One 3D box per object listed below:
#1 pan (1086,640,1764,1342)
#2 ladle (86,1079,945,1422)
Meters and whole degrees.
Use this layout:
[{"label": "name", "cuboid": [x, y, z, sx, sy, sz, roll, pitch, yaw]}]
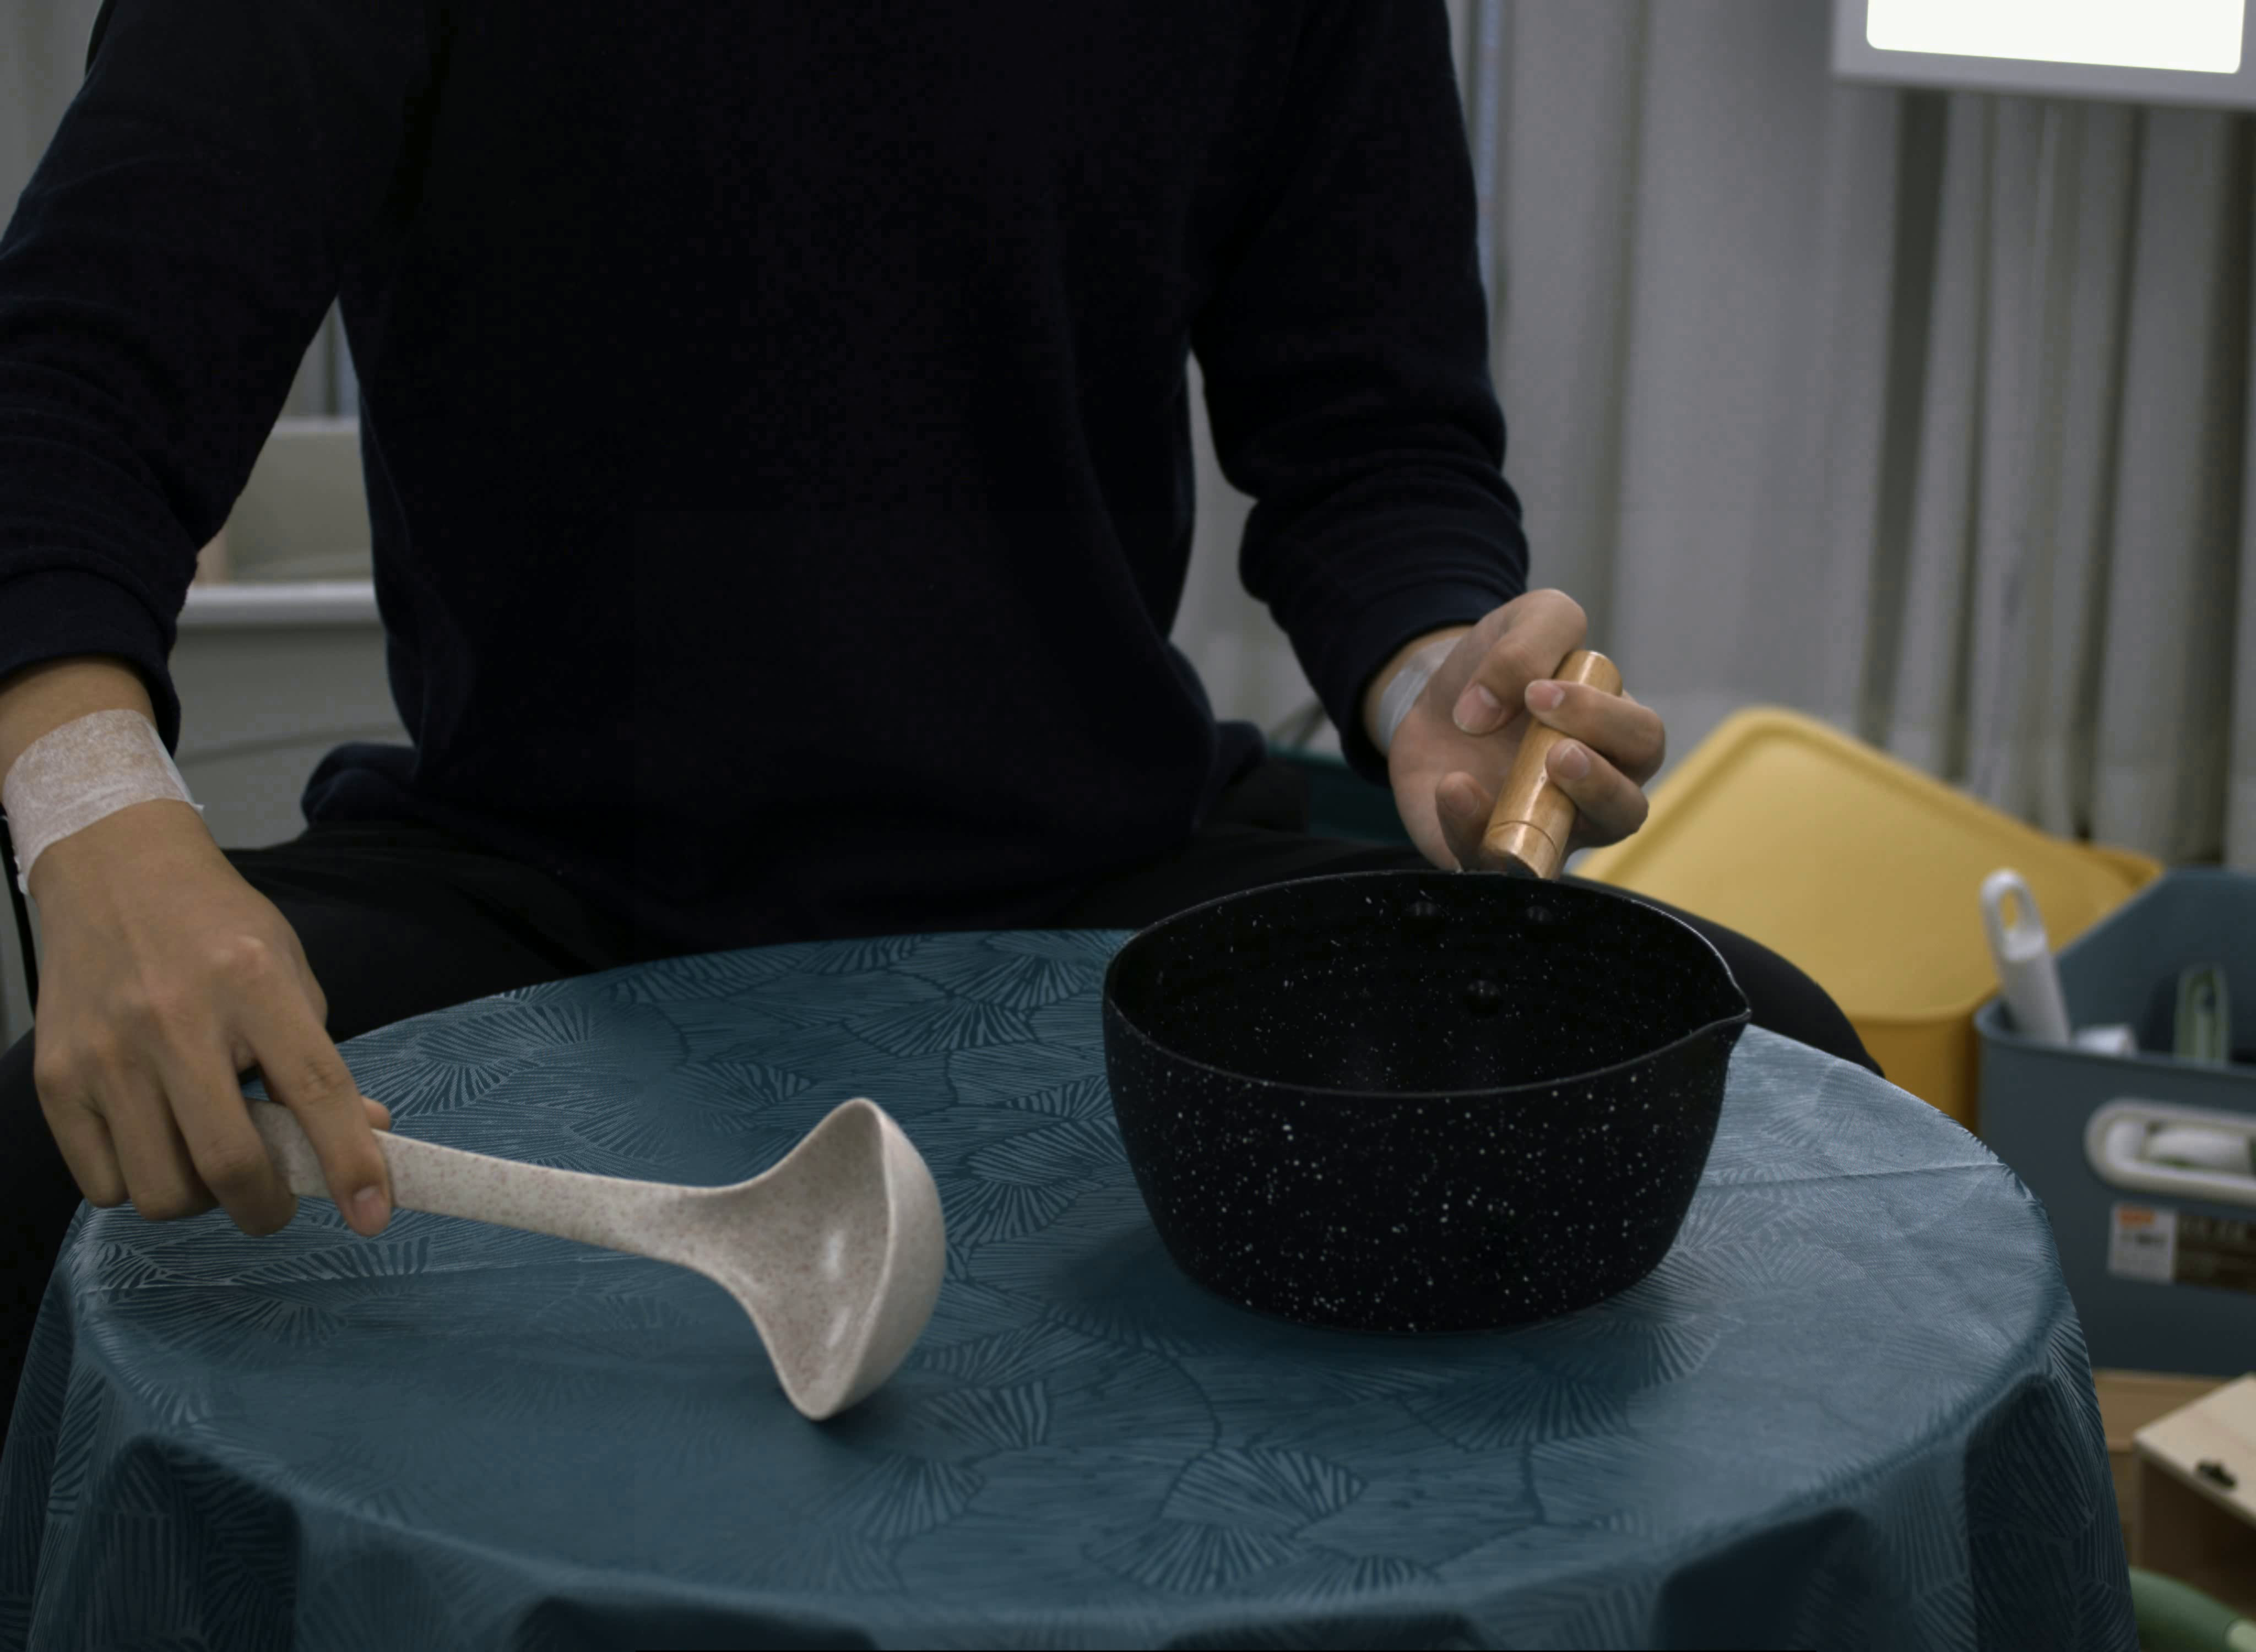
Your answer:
[{"label": "pan", "cuboid": [0.106, 0.046, 1.625, 0.206, 0.109, 0.342, 3, 21, 15]}, {"label": "ladle", "cuboid": [-0.181, 0.102, 1.466, 0.272, 0.090, 0.069, 9, 4, 14]}]
